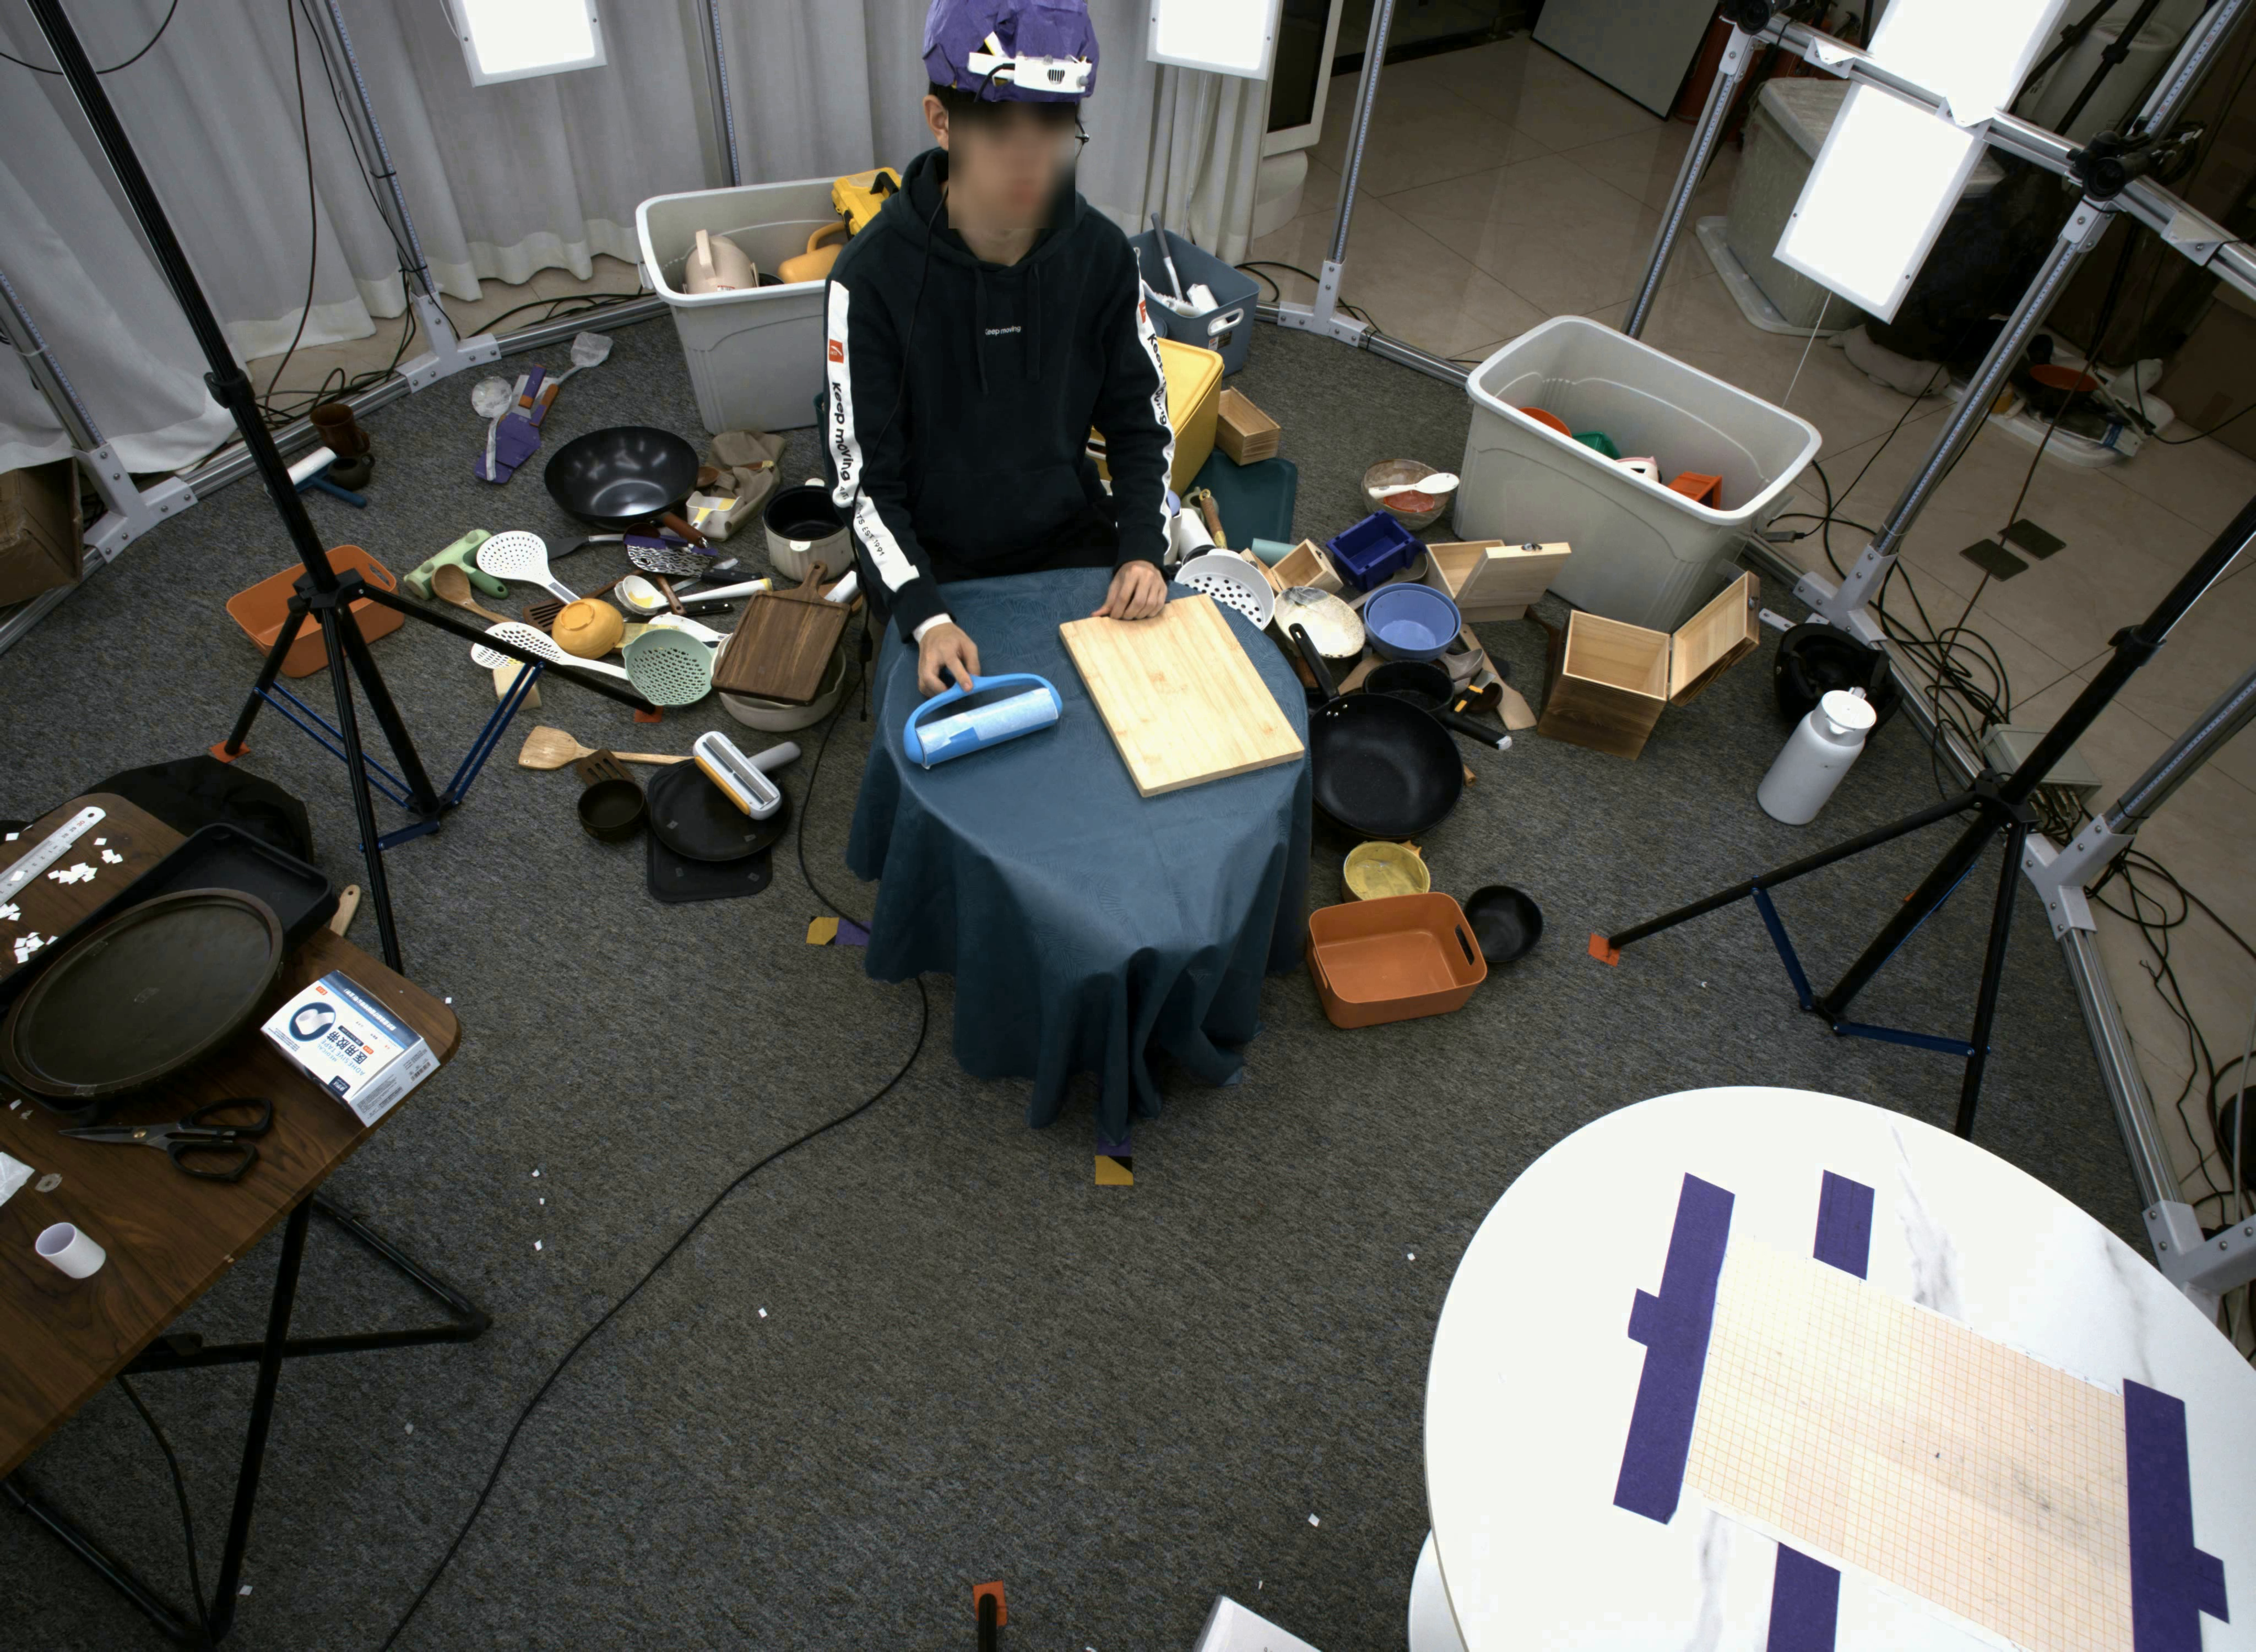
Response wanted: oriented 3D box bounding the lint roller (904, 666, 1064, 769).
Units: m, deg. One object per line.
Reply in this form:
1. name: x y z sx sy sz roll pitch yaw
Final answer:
1. lint roller: -0.221 -0.175 1.769 0.229 0.066 0.184 -23 55 -20

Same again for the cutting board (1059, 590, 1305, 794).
1. cutting board: 0.070 -0.199 1.834 0.251 0.023 0.357 -15 52 -16
